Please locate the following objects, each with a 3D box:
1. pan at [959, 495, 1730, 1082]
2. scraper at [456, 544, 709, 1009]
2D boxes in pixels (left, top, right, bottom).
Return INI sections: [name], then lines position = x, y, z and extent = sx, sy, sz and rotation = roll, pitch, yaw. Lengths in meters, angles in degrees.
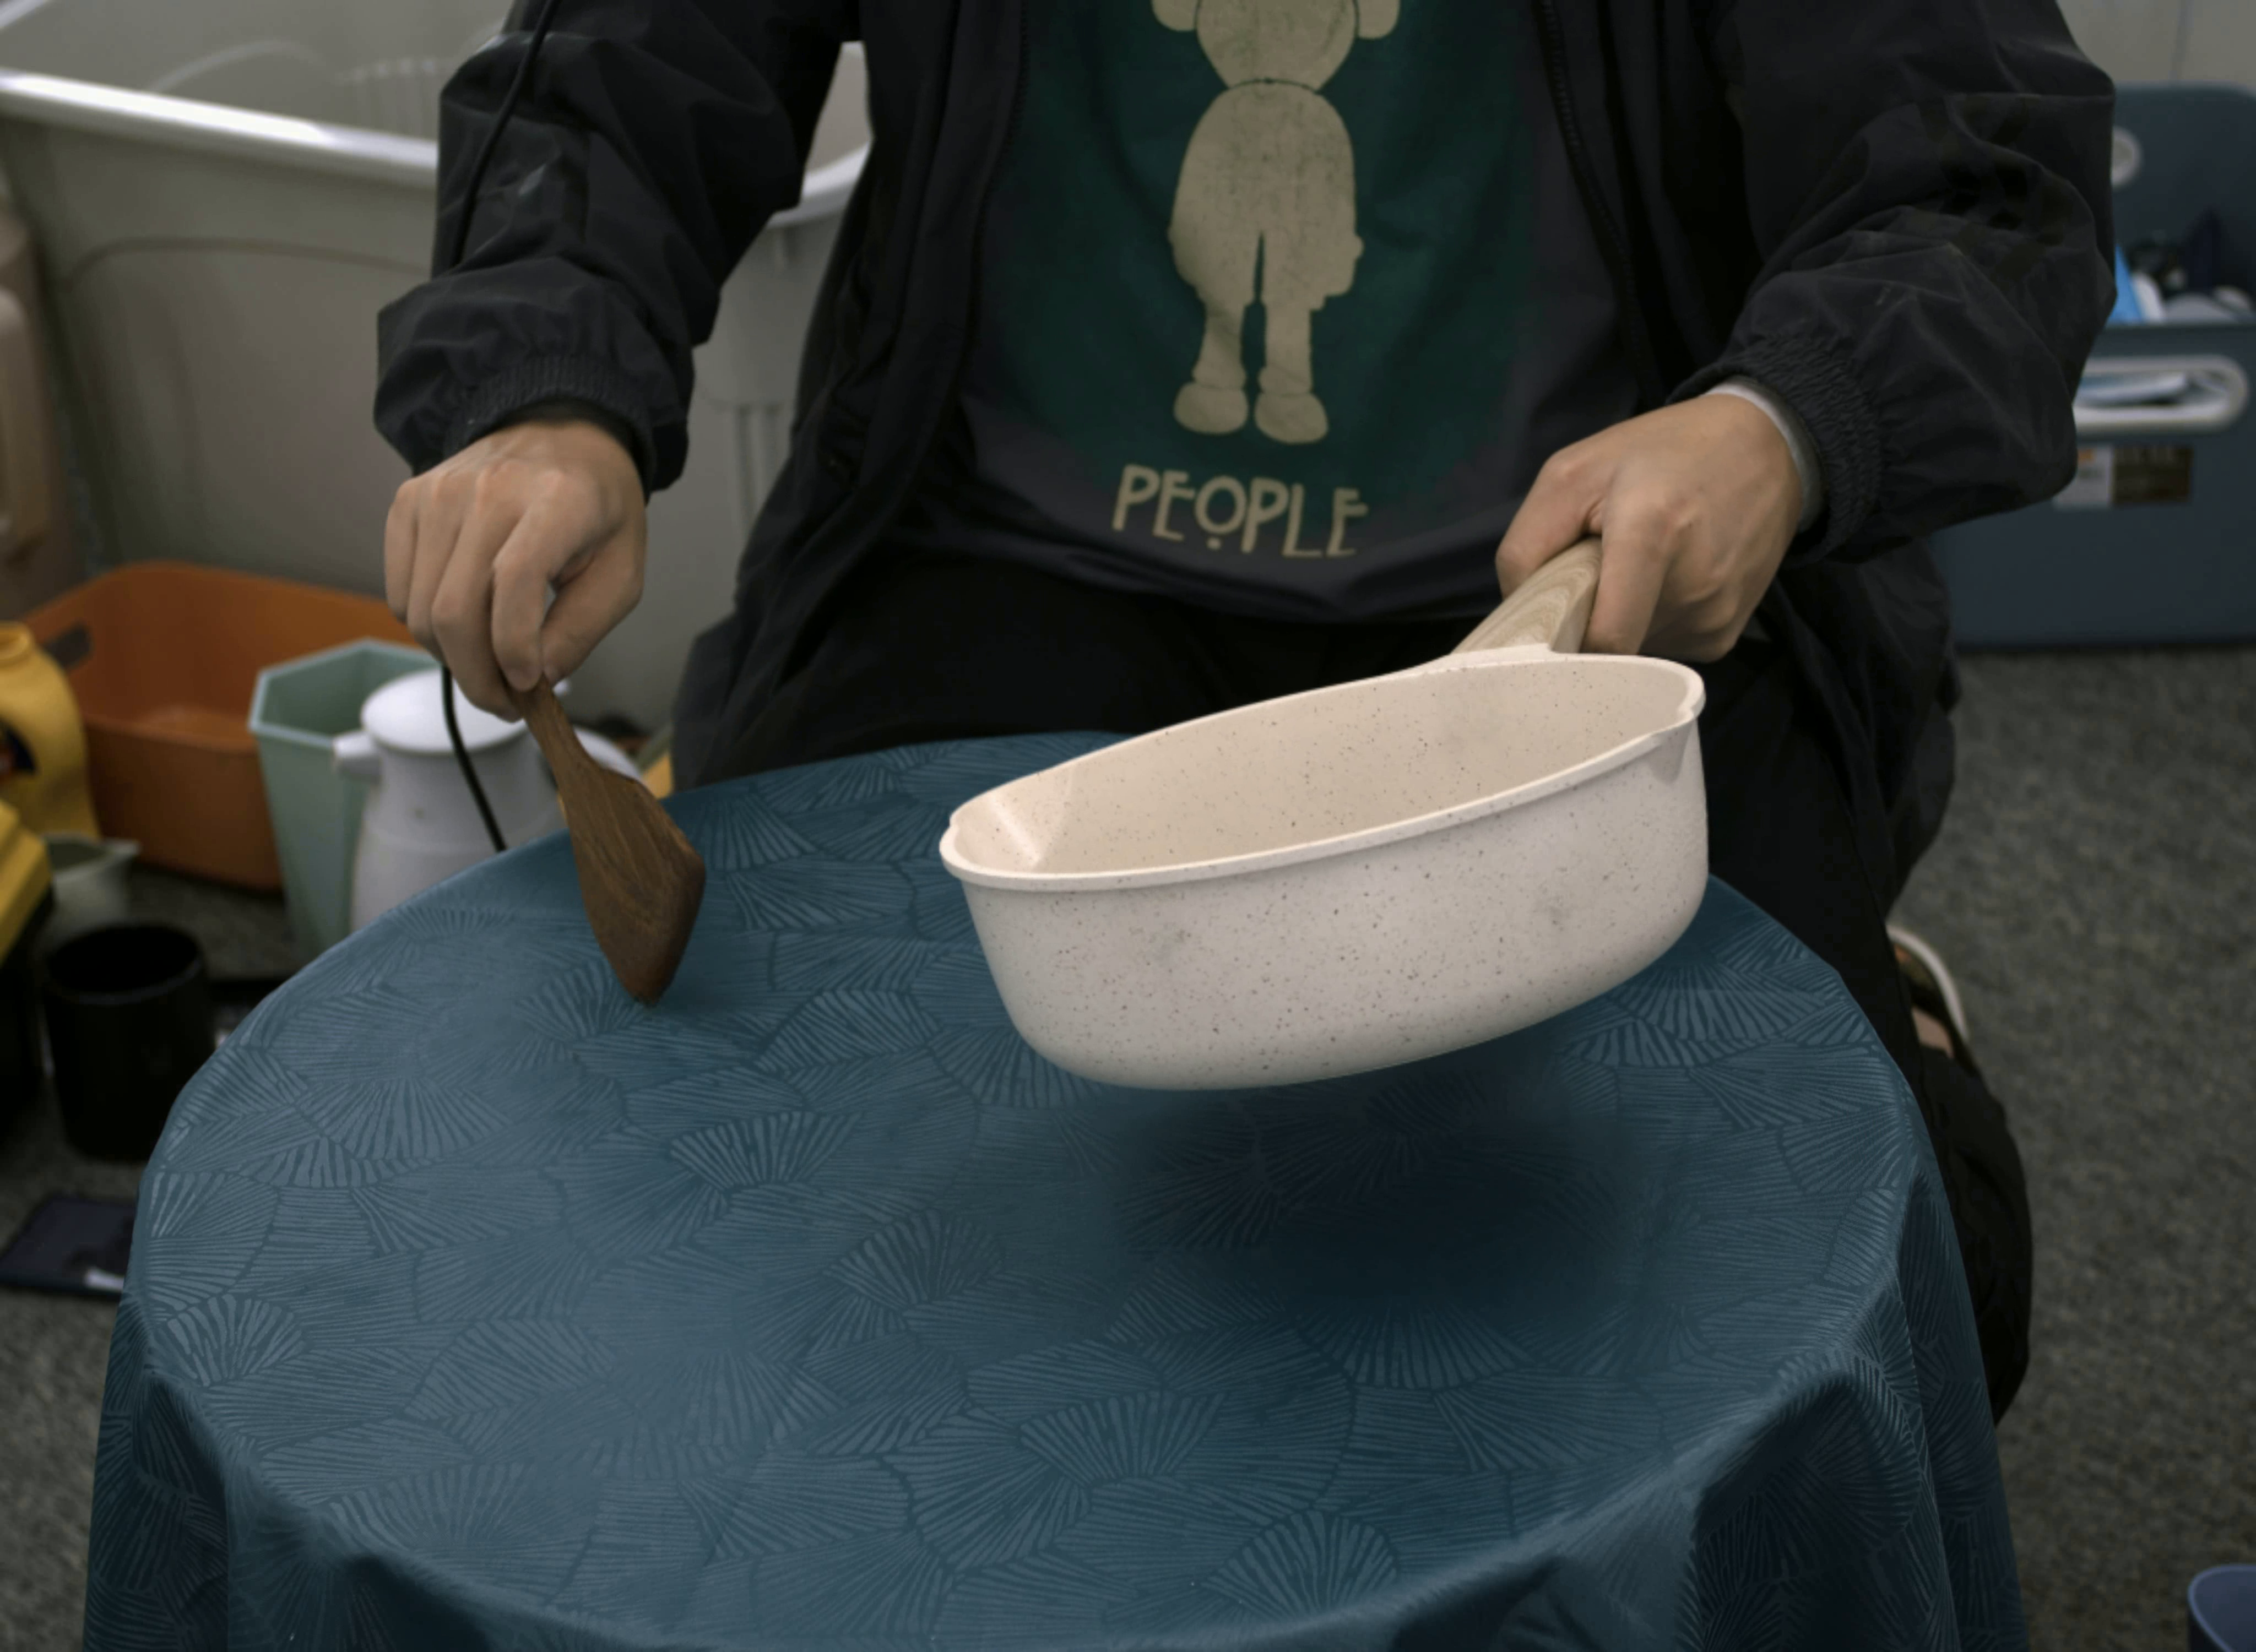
[pan]
position = 0.115, -0.016, 1.888
extent = 0.260, 0.102, 0.440
rotation = -9, 11, 29
[scraper]
position = -0.201, -0.027, 2.020
extent = 0.011, 0.074, 0.214
rotation = -1, 41, -33
